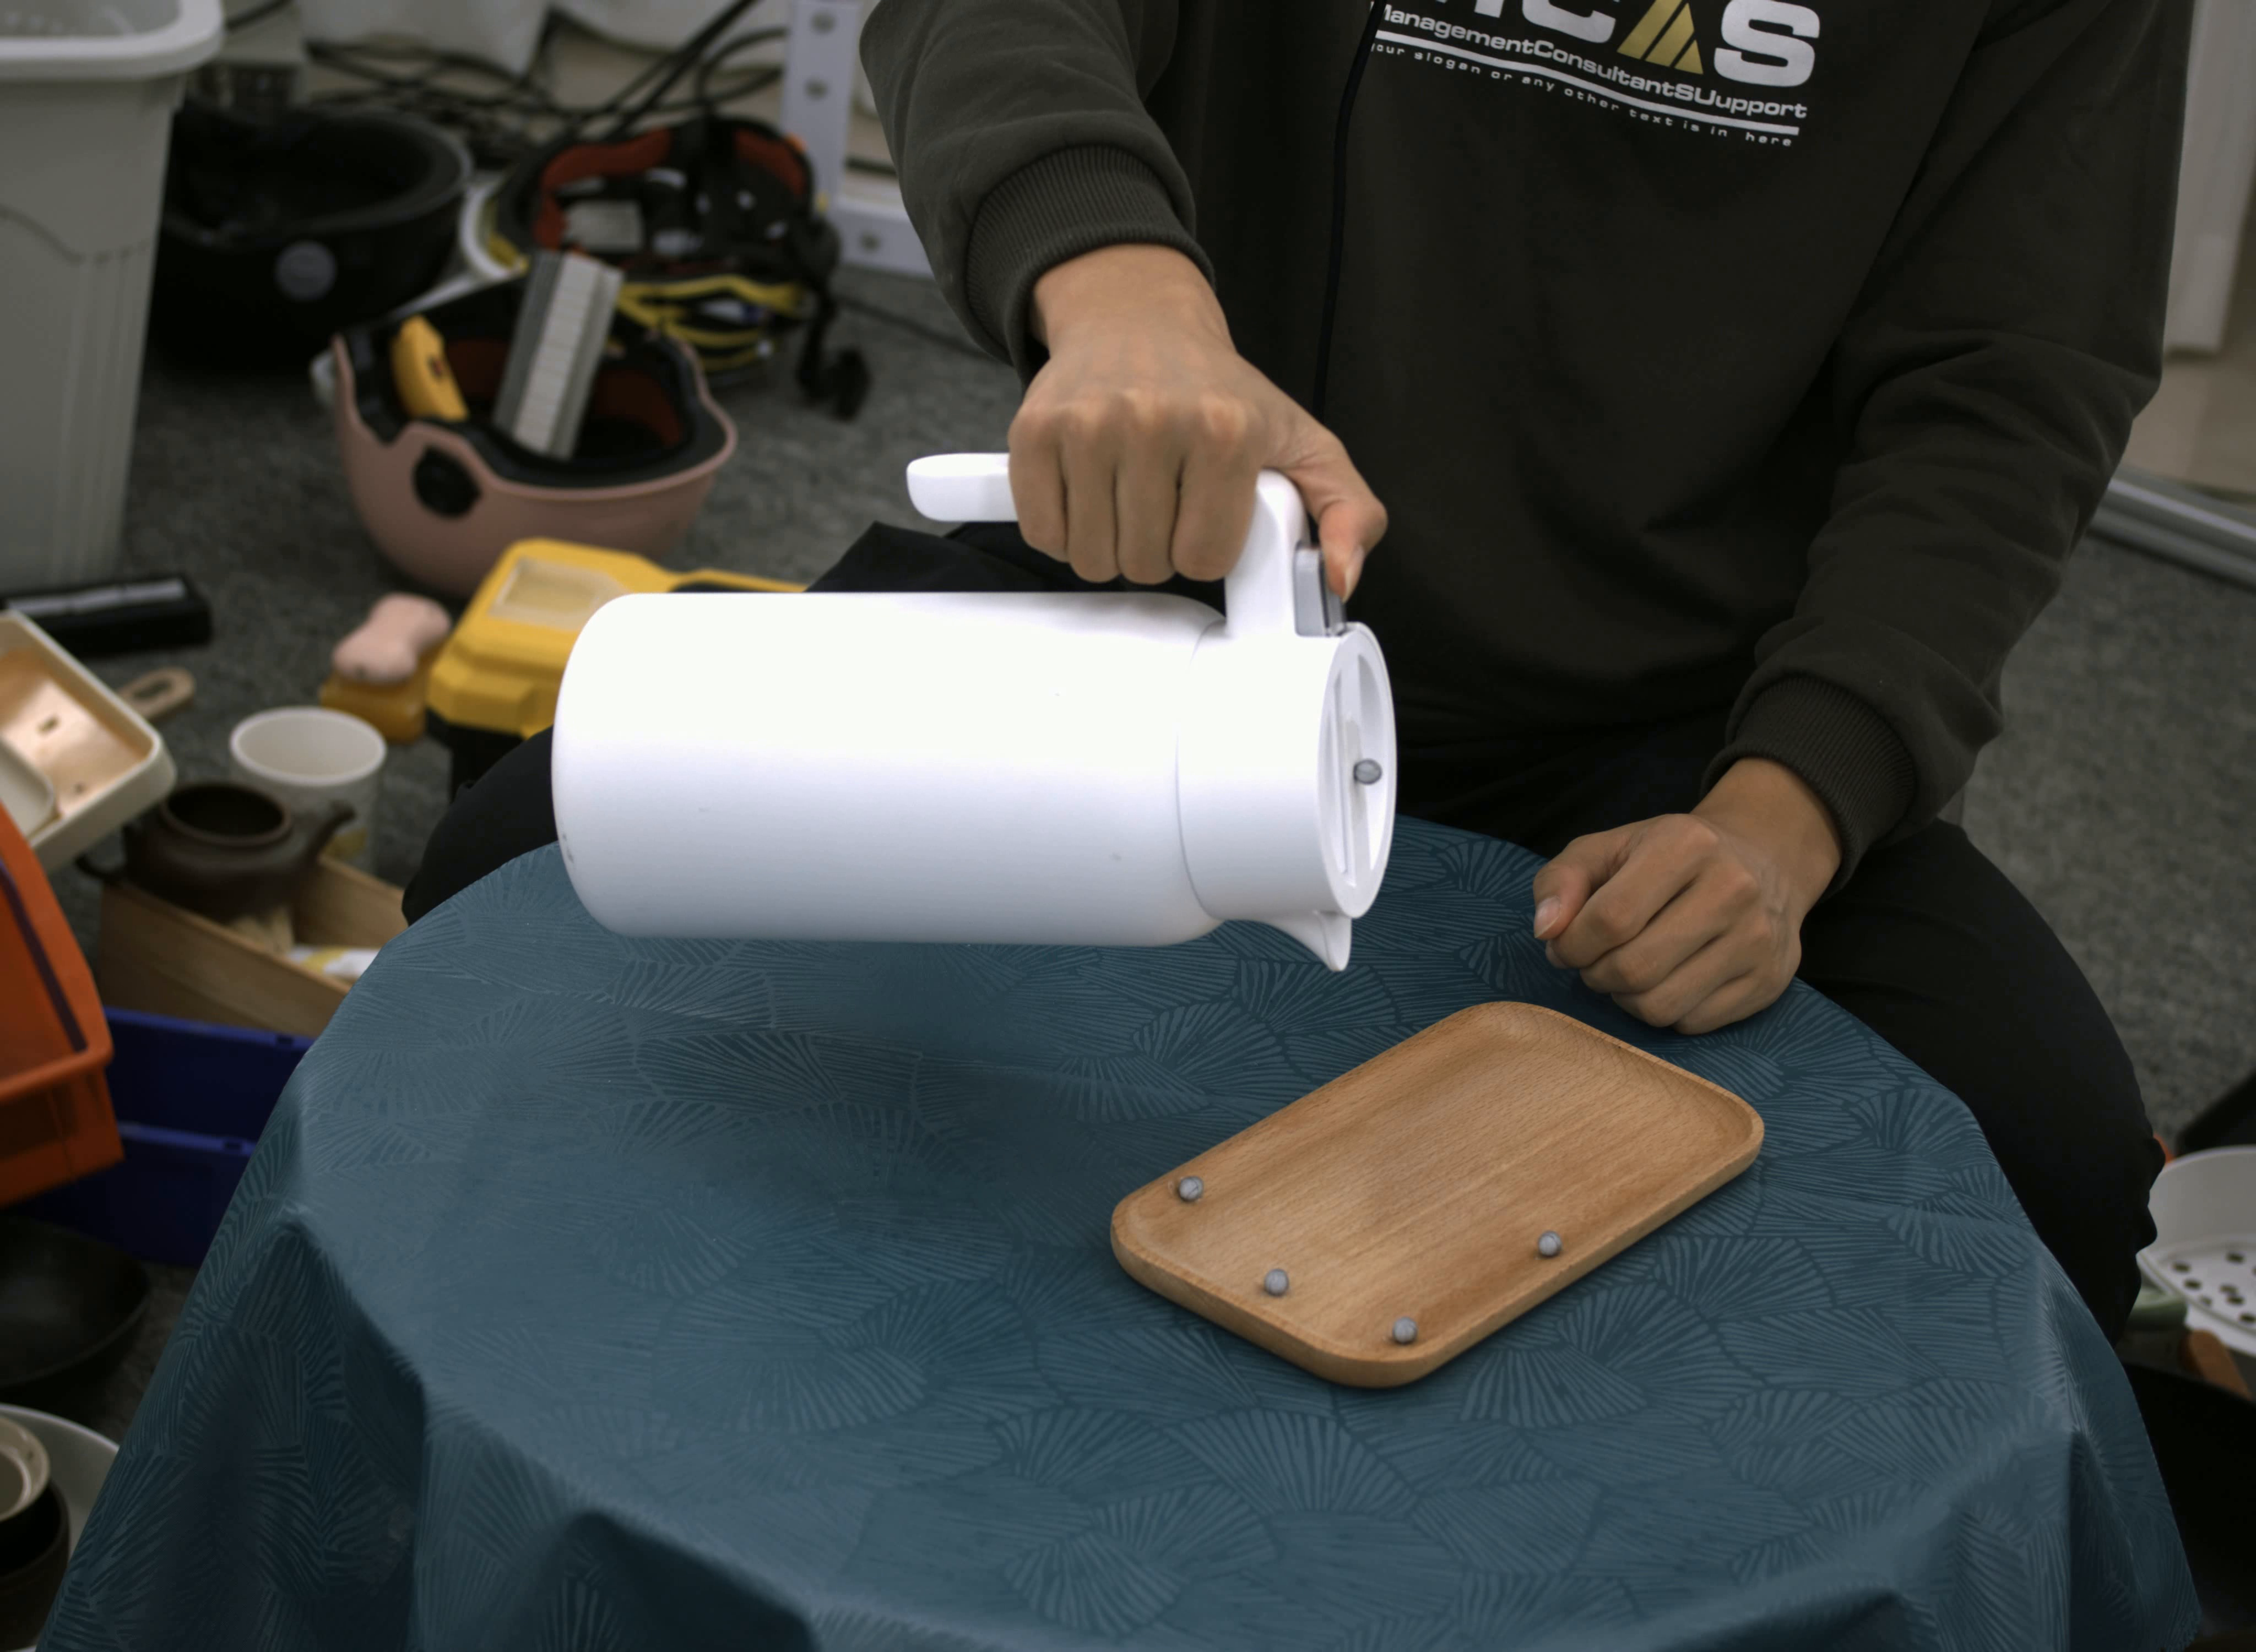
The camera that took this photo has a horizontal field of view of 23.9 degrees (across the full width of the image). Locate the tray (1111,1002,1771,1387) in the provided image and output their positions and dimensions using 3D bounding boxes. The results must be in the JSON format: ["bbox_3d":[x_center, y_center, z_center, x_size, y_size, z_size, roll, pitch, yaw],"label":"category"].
[{"bbox_3d":[0.109,0.123,1.816,0.131,0.023,0.249,28,32,31],"label":"tray"}]

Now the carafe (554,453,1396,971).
[{"bbox_3d":[-0.052,-0.036,1.767,0.269,0.172,0.124,1,15,20],"label":"carafe"}]
